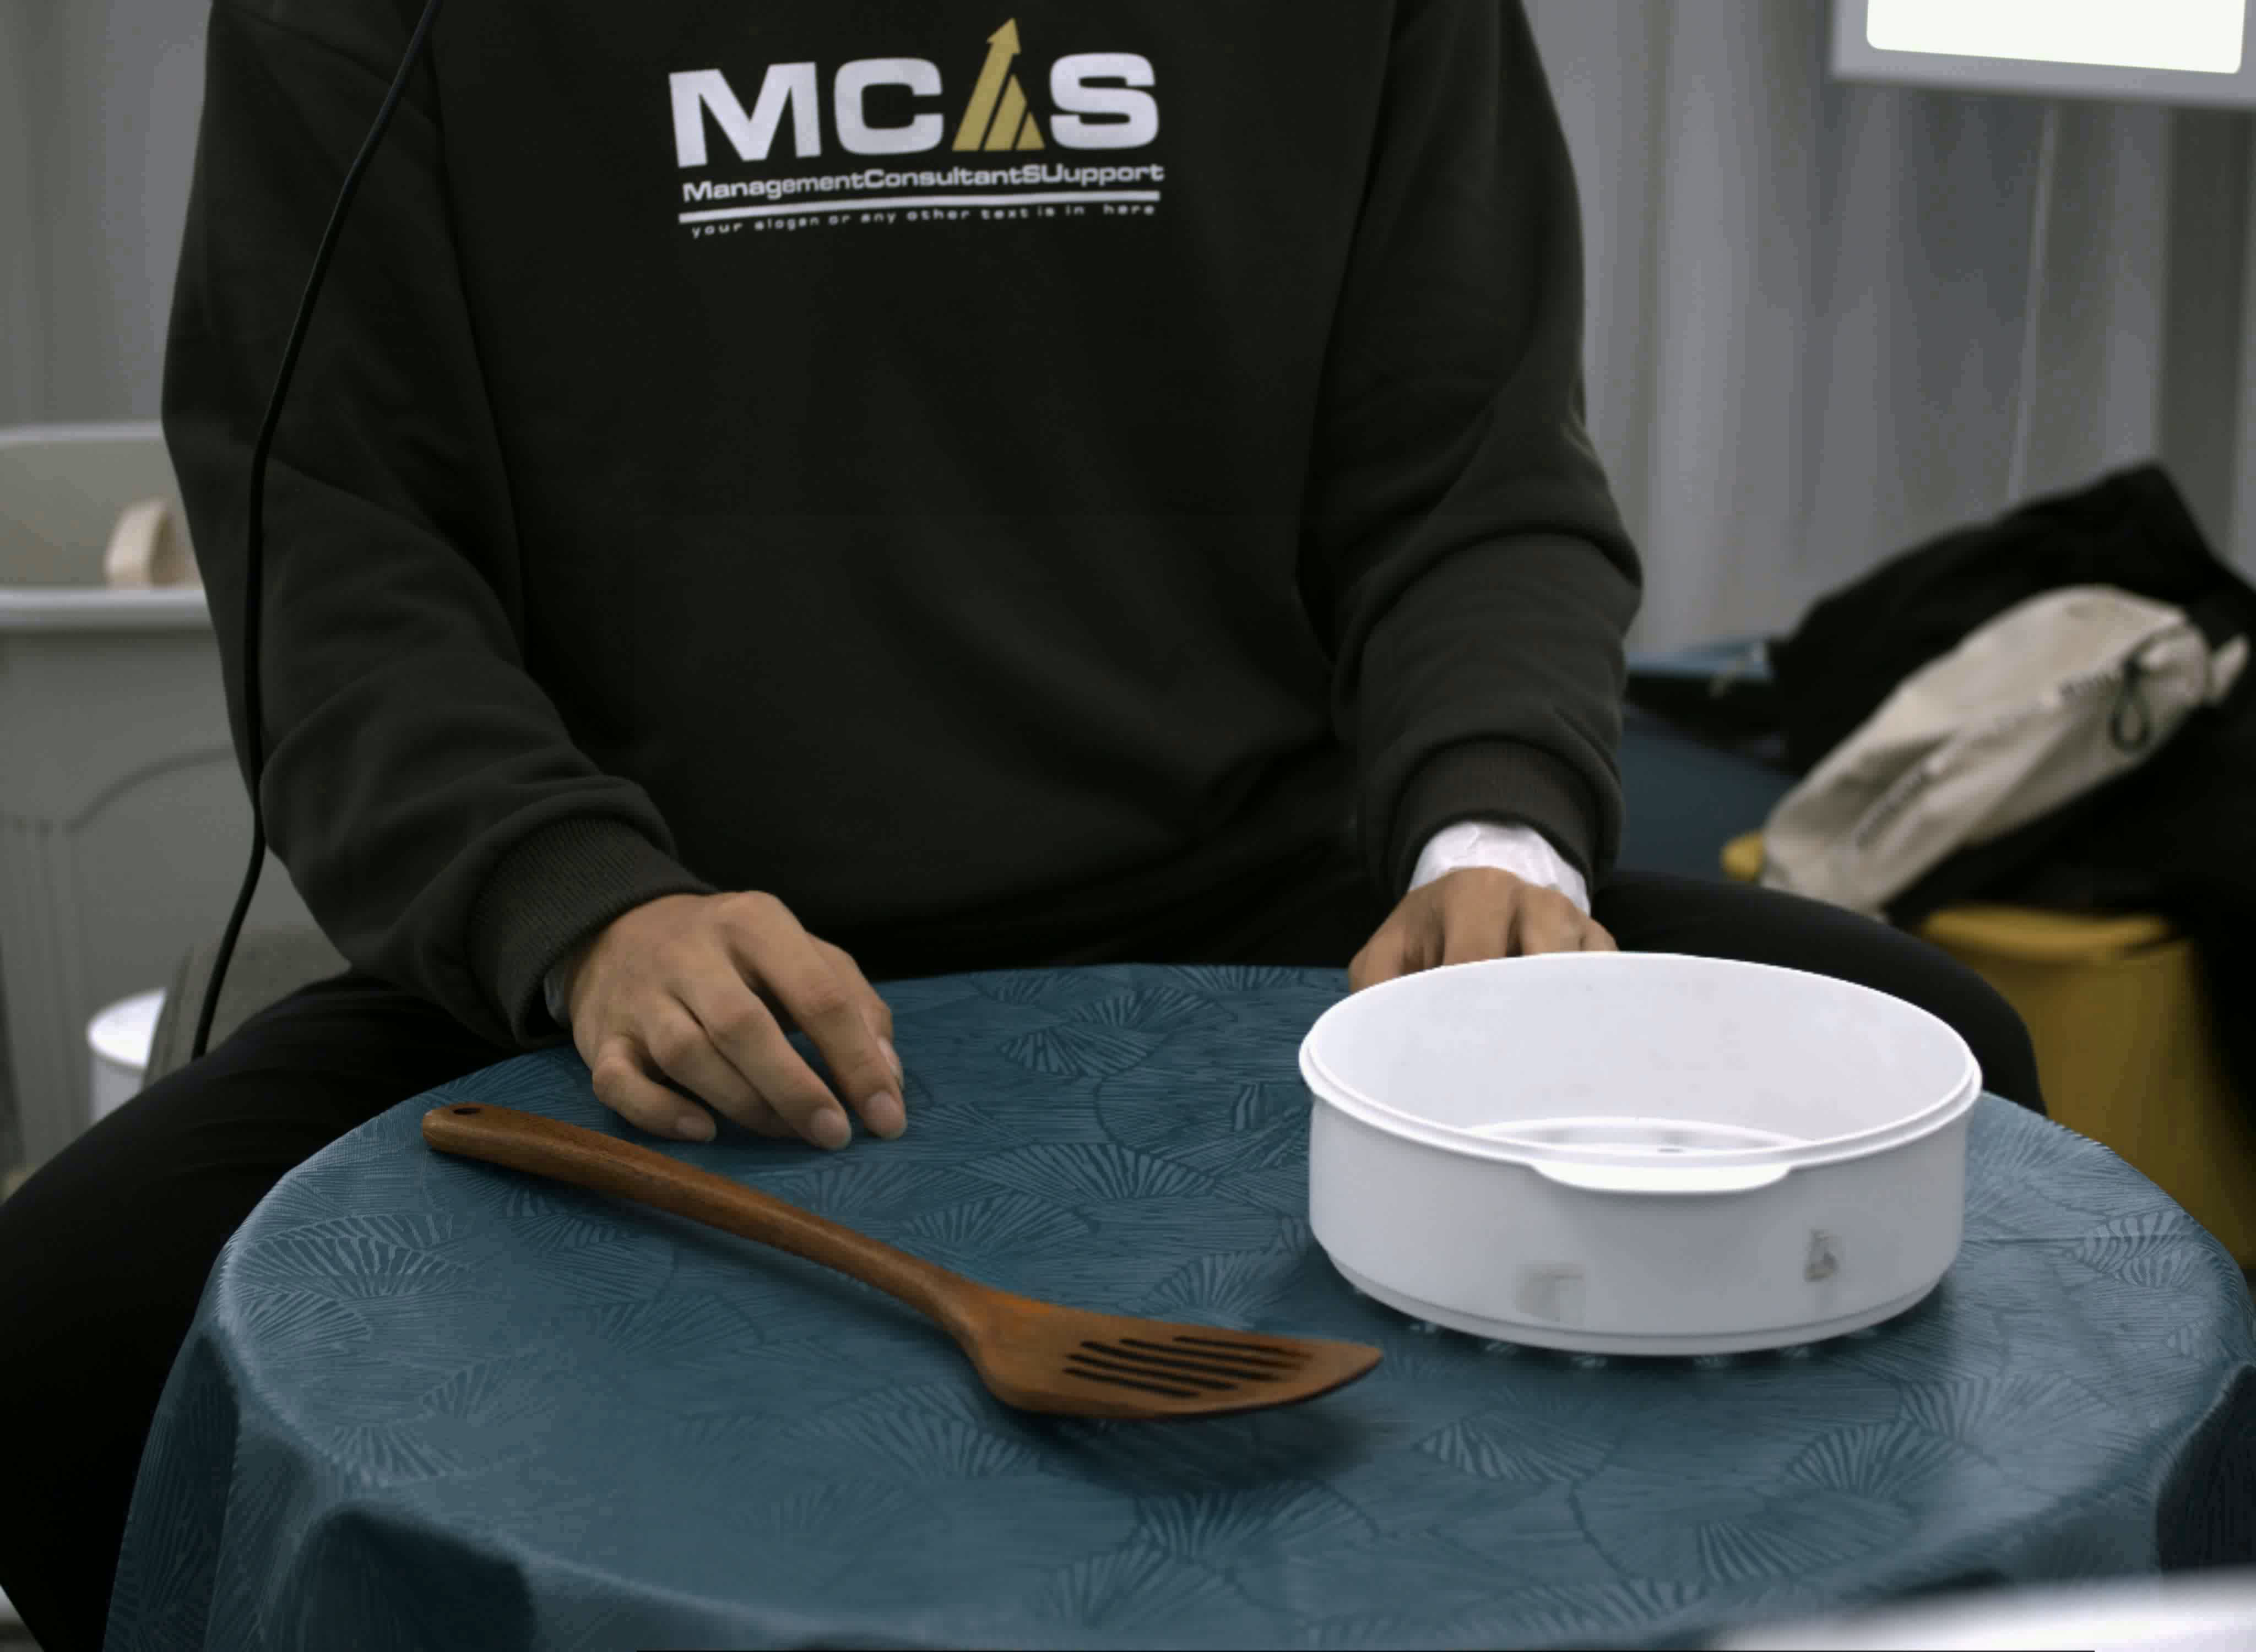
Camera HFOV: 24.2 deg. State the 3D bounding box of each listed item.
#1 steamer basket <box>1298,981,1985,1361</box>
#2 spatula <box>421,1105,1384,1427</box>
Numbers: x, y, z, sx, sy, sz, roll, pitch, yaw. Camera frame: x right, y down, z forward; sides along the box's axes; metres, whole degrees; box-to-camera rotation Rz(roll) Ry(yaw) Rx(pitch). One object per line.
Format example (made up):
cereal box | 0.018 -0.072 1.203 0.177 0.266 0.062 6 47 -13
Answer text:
steamer basket | 0.149 0.101 1.554 0.201 0.070 0.229 3 12 0
spatula | -0.086 0.127 1.532 0.086 0.024 0.380 -11 18 -44
